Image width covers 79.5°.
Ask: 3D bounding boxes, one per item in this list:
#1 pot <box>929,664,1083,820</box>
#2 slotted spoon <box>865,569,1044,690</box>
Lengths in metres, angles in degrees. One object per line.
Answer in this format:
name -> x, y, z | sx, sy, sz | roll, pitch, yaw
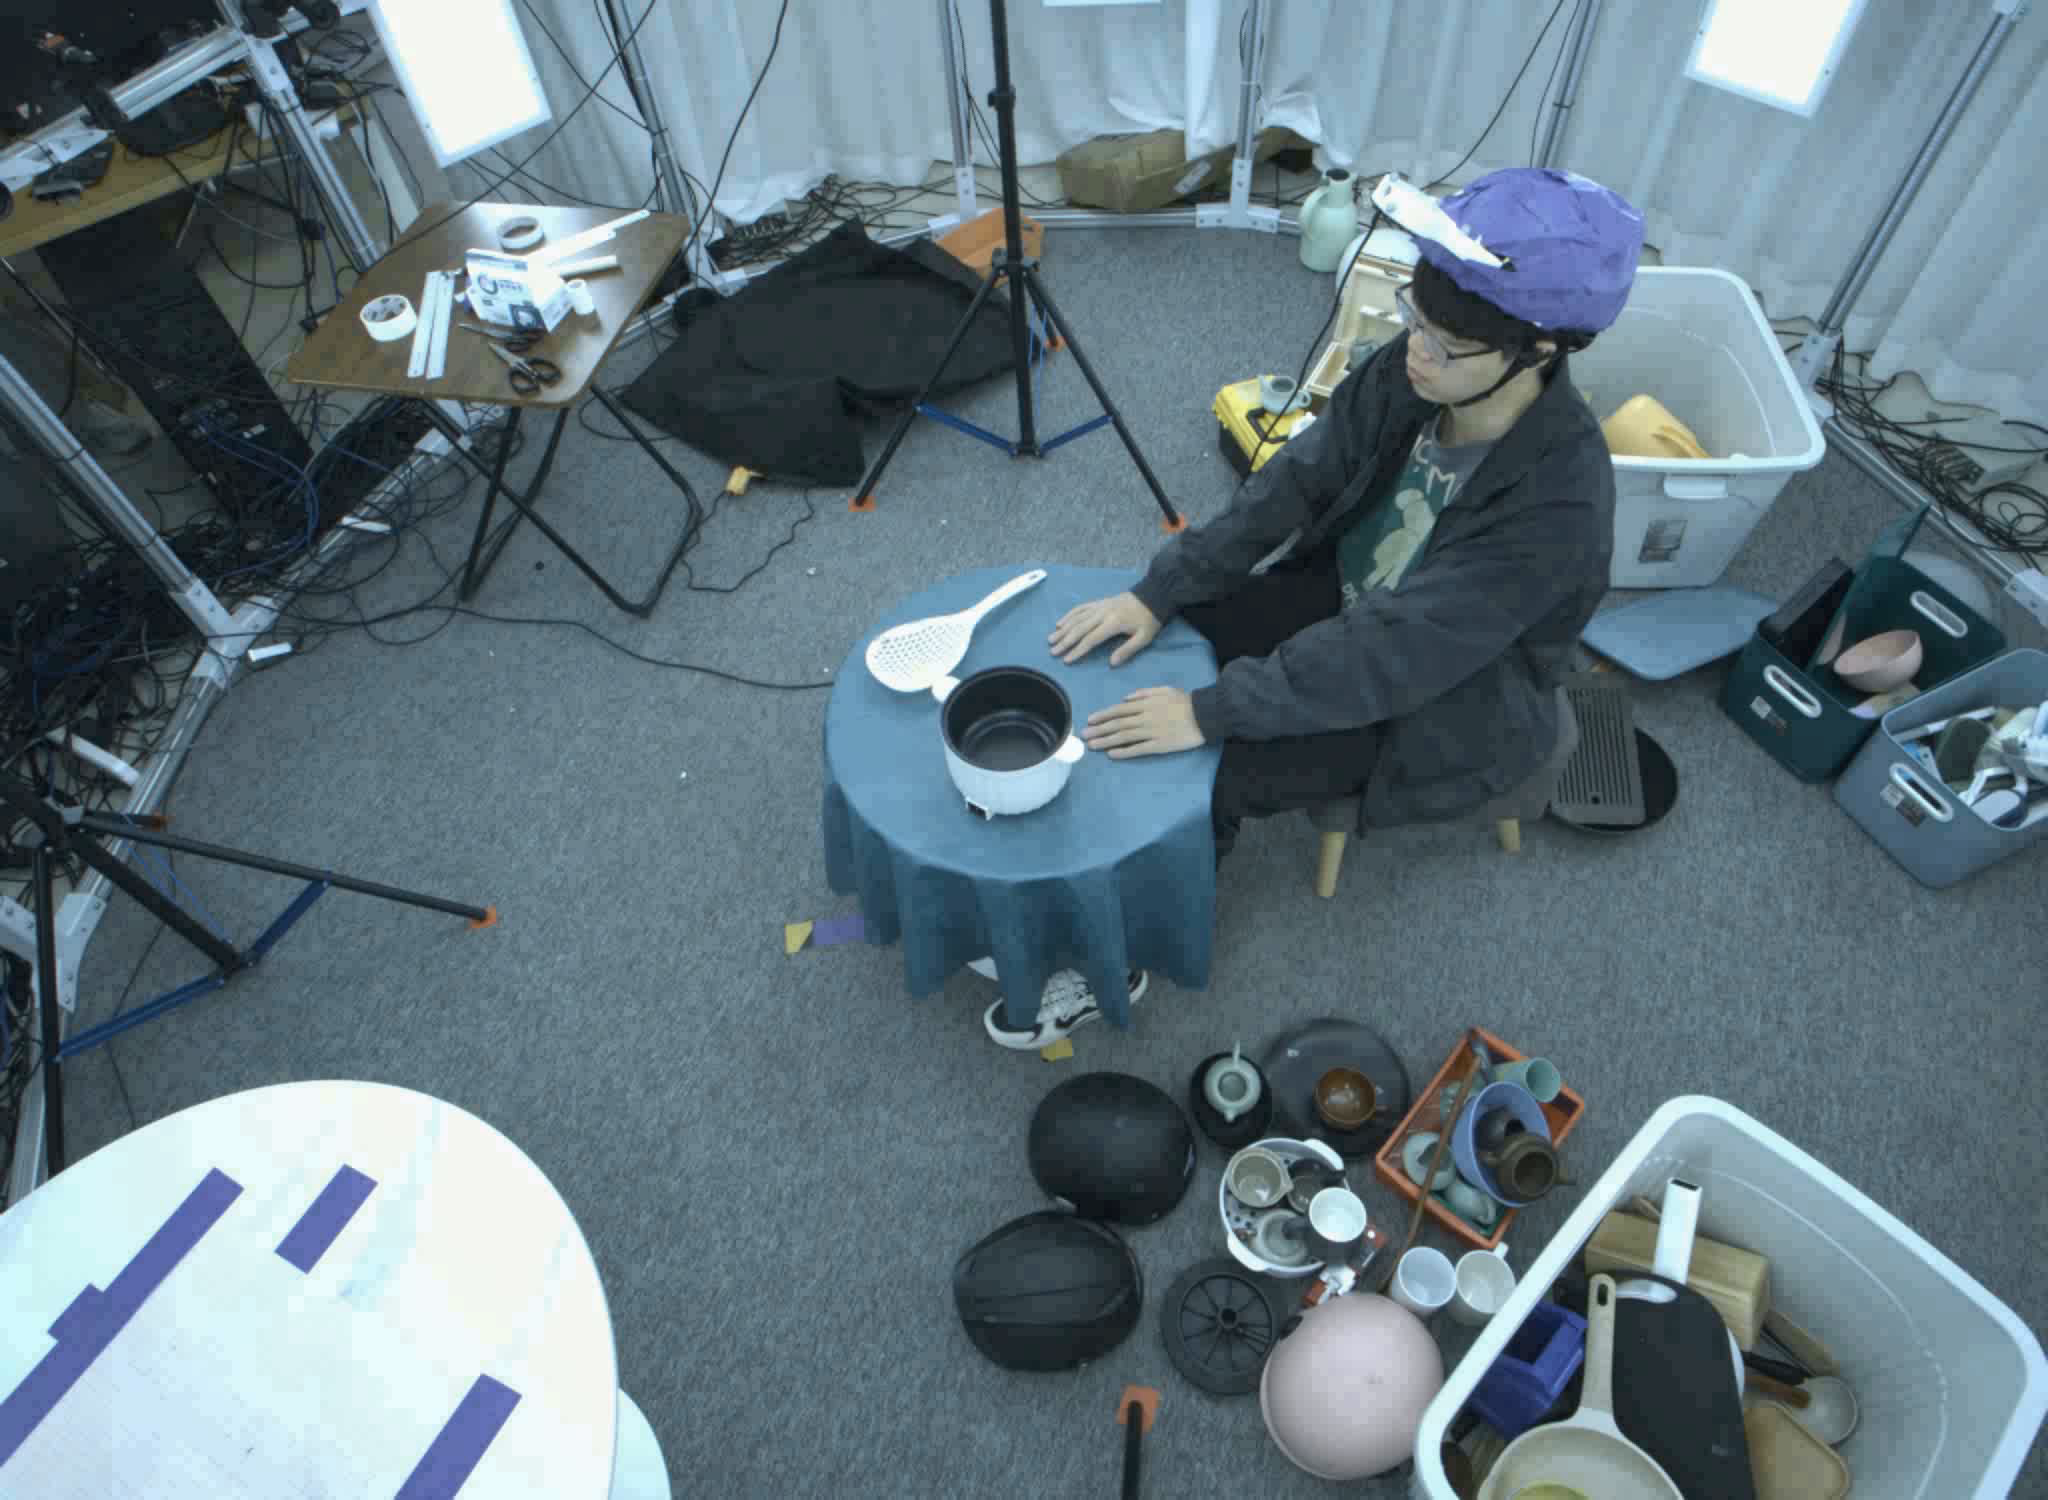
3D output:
pot -> -0.020, -0.011, 1.702 | 0.237, 0.144, 0.191 | 27, 63, 19
slotted spoon -> -0.091, -0.197, 1.896 | 0.134, 0.051, 0.350 | 37, 64, 27
